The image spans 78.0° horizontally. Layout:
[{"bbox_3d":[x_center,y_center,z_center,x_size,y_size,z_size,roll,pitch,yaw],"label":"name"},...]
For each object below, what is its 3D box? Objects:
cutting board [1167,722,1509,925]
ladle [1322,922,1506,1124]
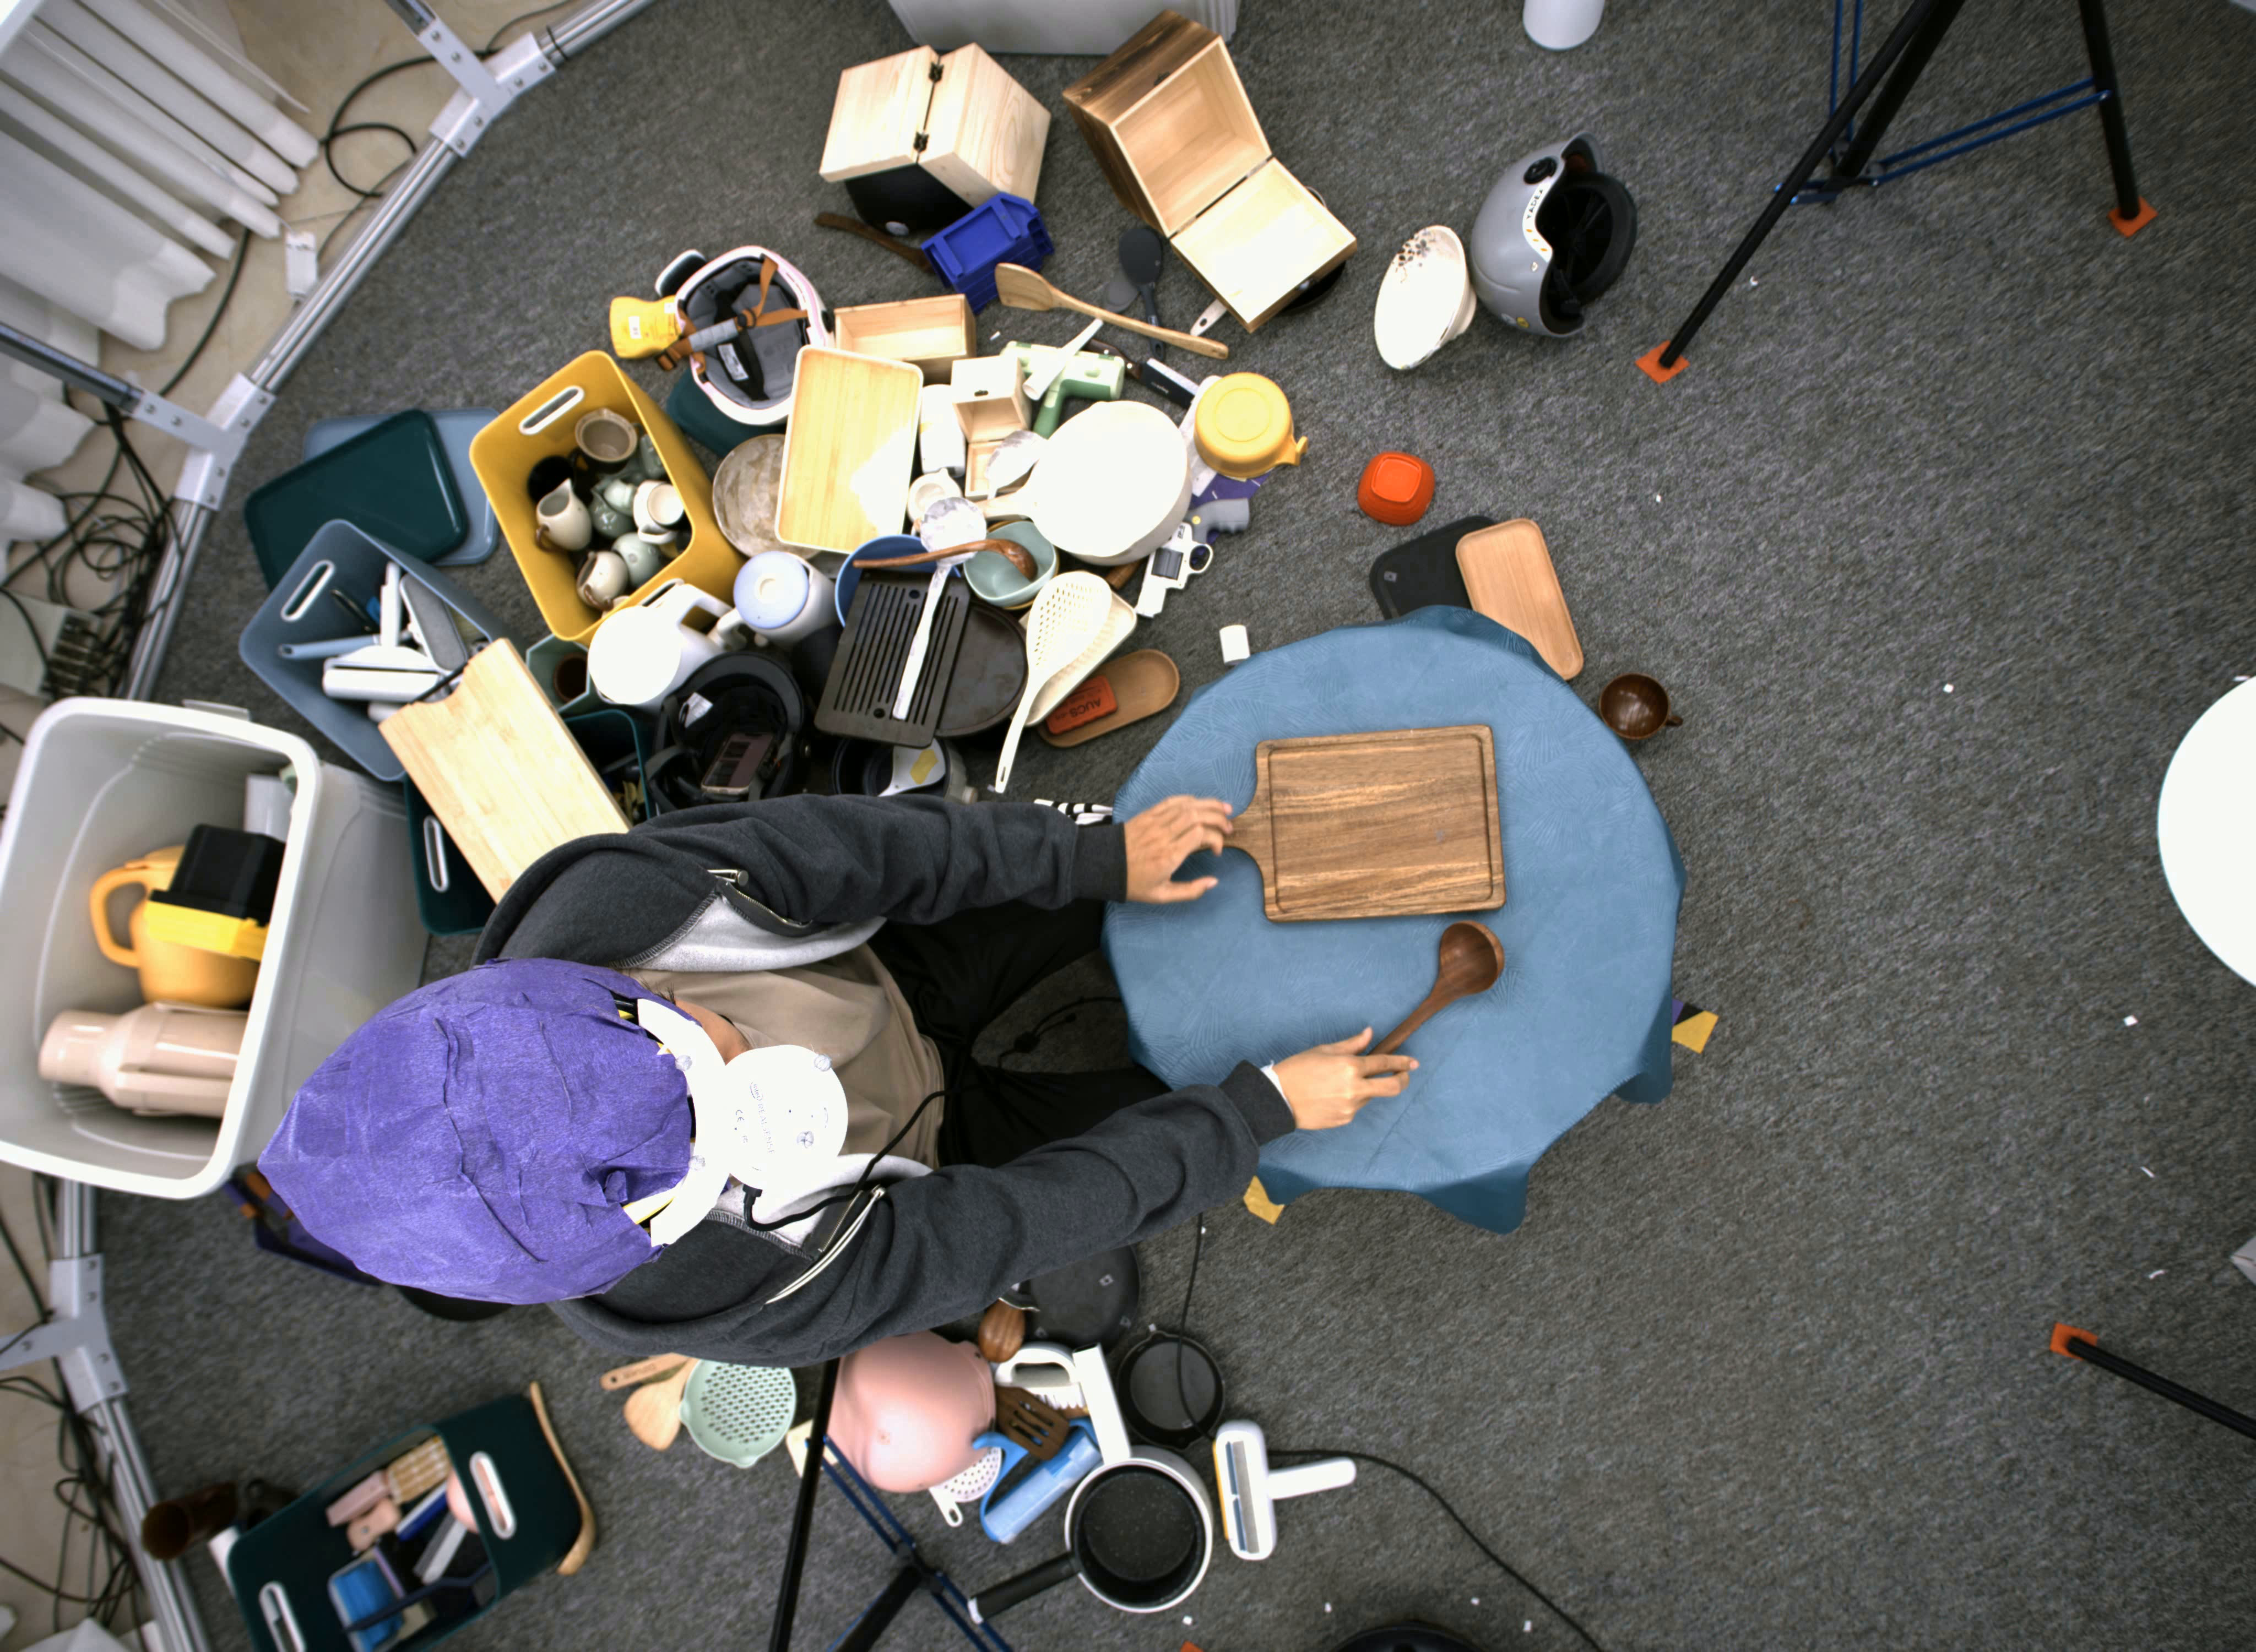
[{"bbox_3d":[0.216,0.000,1.462,0.354,0.023,0.200,-4,85,10],"label":"cutting board"},{"bbox_3d":[0.285,0.203,1.417,0.261,0.066,0.075,-46,51,6],"label":"ladle"}]
